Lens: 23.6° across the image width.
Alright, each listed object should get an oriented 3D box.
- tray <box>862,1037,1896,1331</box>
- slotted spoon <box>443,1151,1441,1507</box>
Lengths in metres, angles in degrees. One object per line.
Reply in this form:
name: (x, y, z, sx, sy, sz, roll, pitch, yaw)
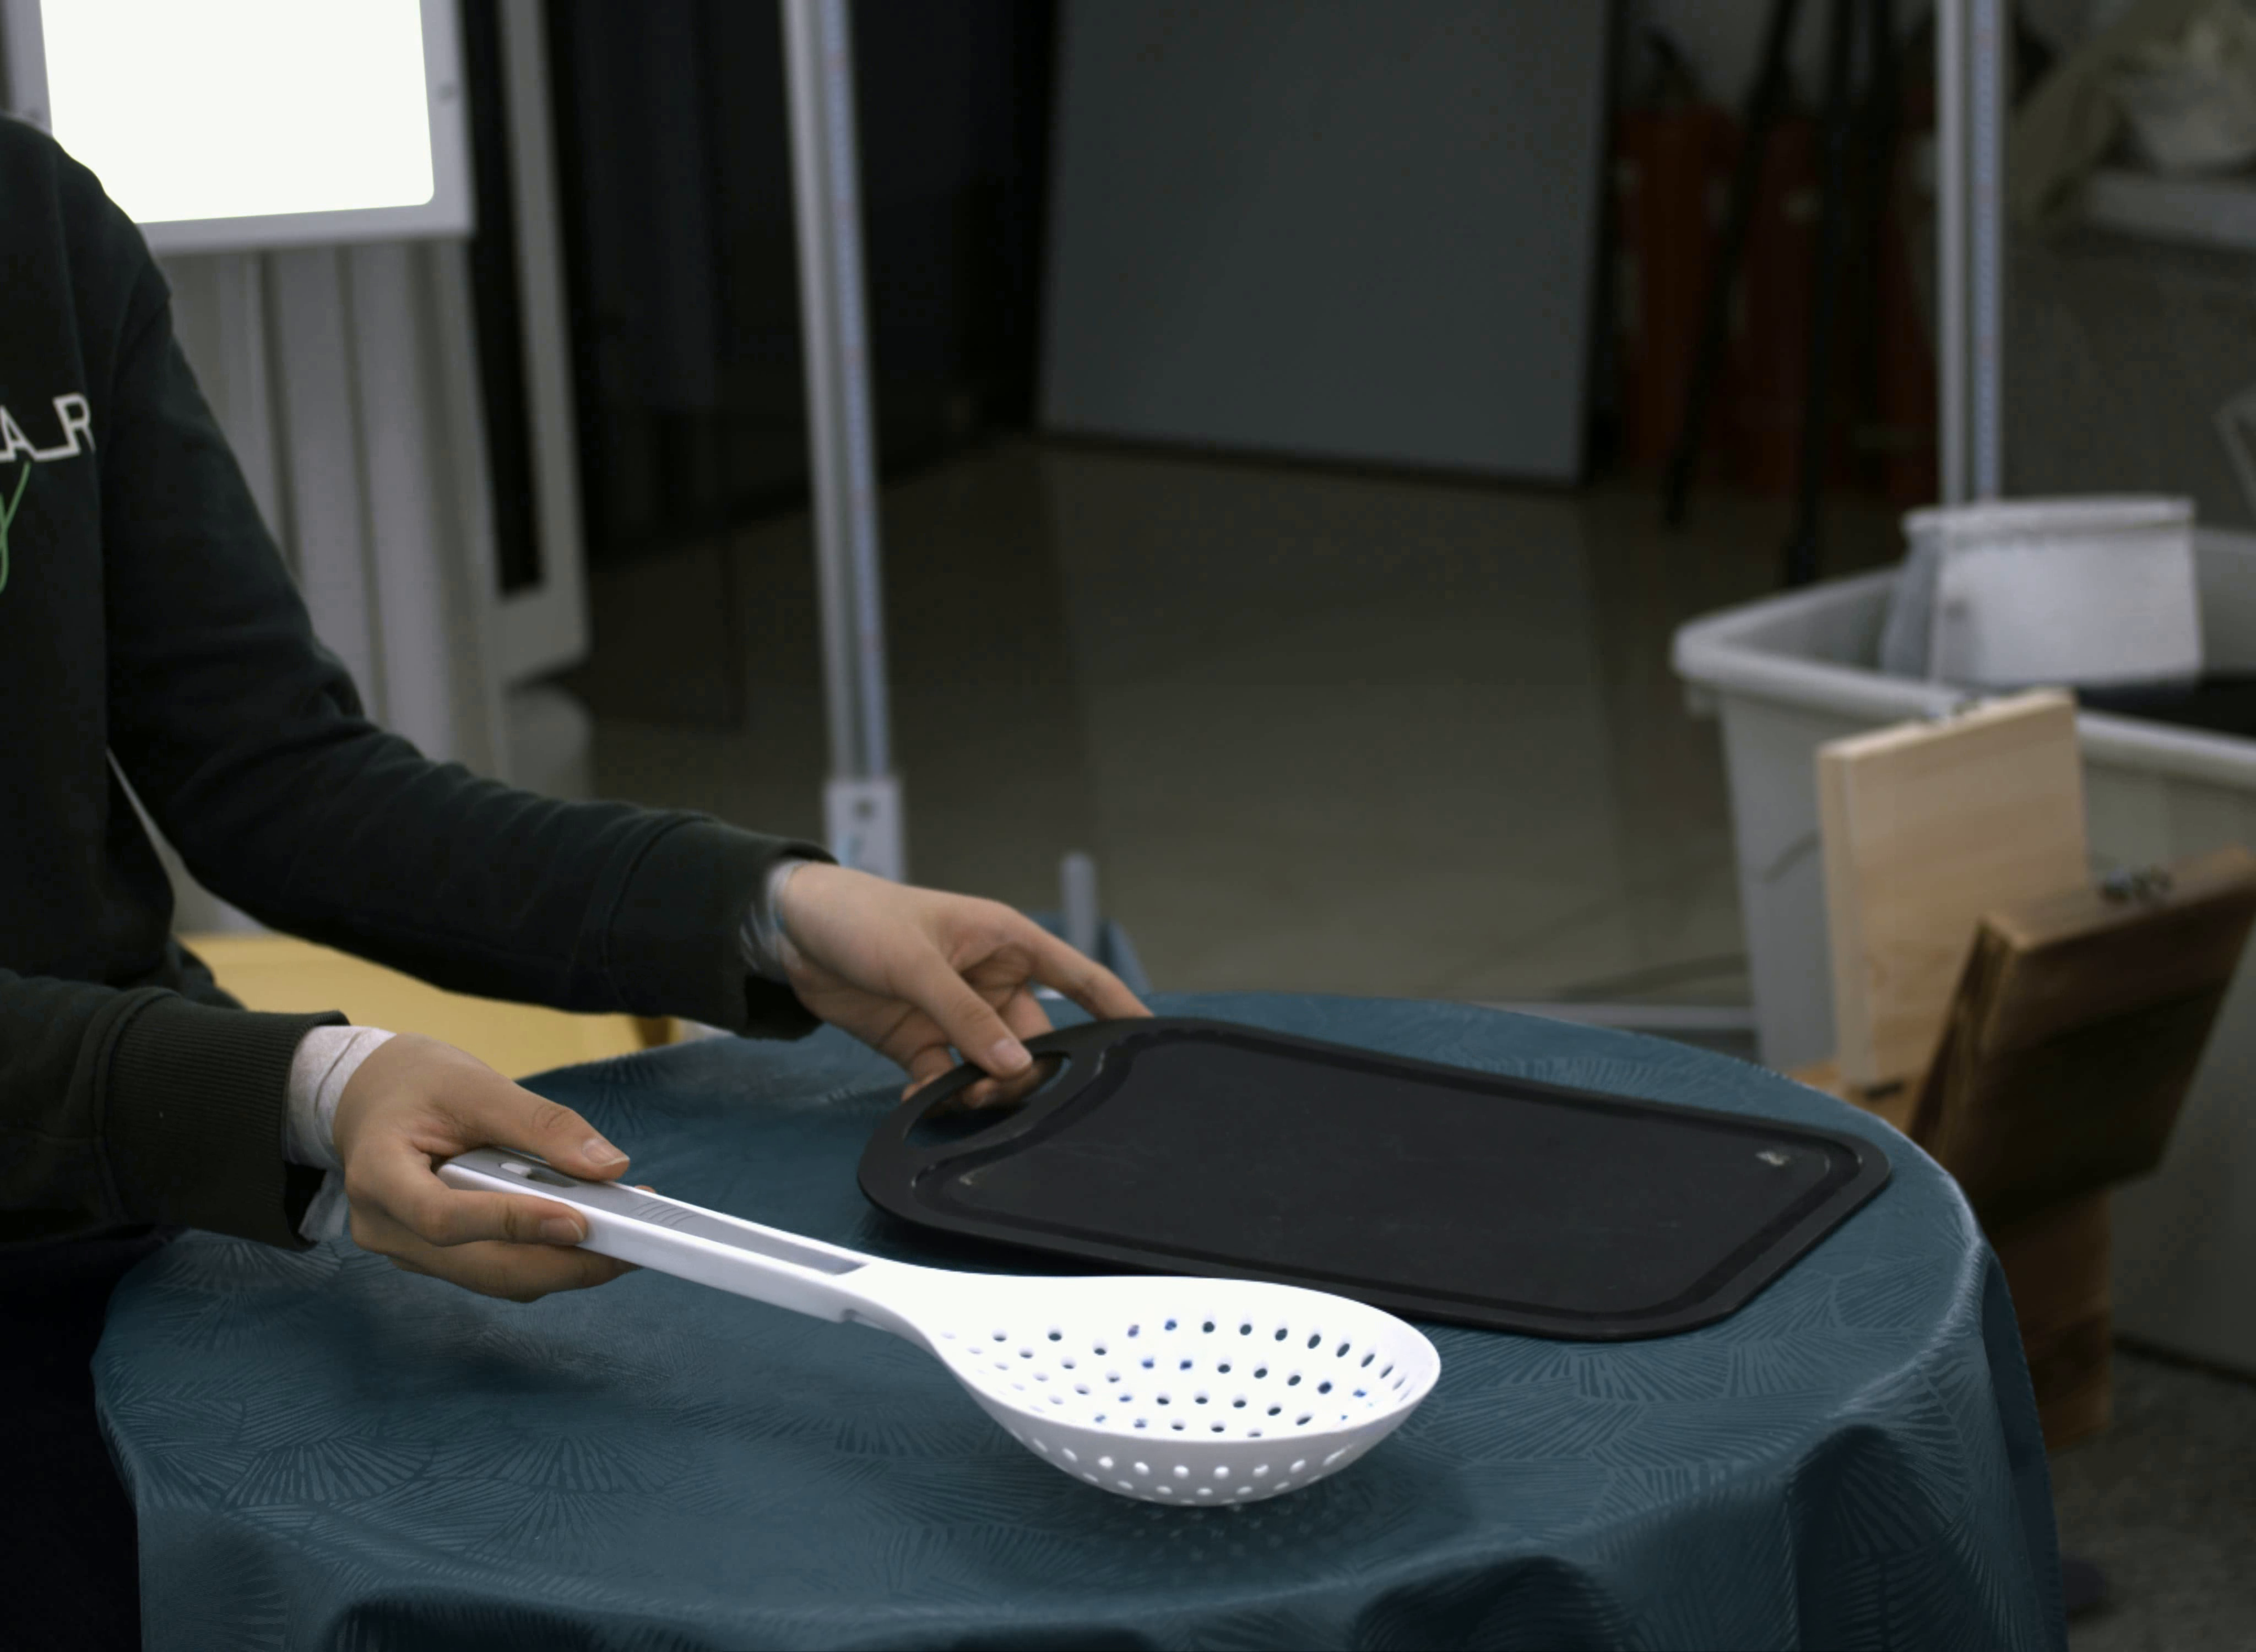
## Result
tray: (0.074, 0.111, 1.747, 0.326, 0.010, 0.208, 7, 18, 29)
slotted spoon: (-0.066, 0.136, 1.561, 0.352, 0.046, 0.133, 17, 19, 35)
